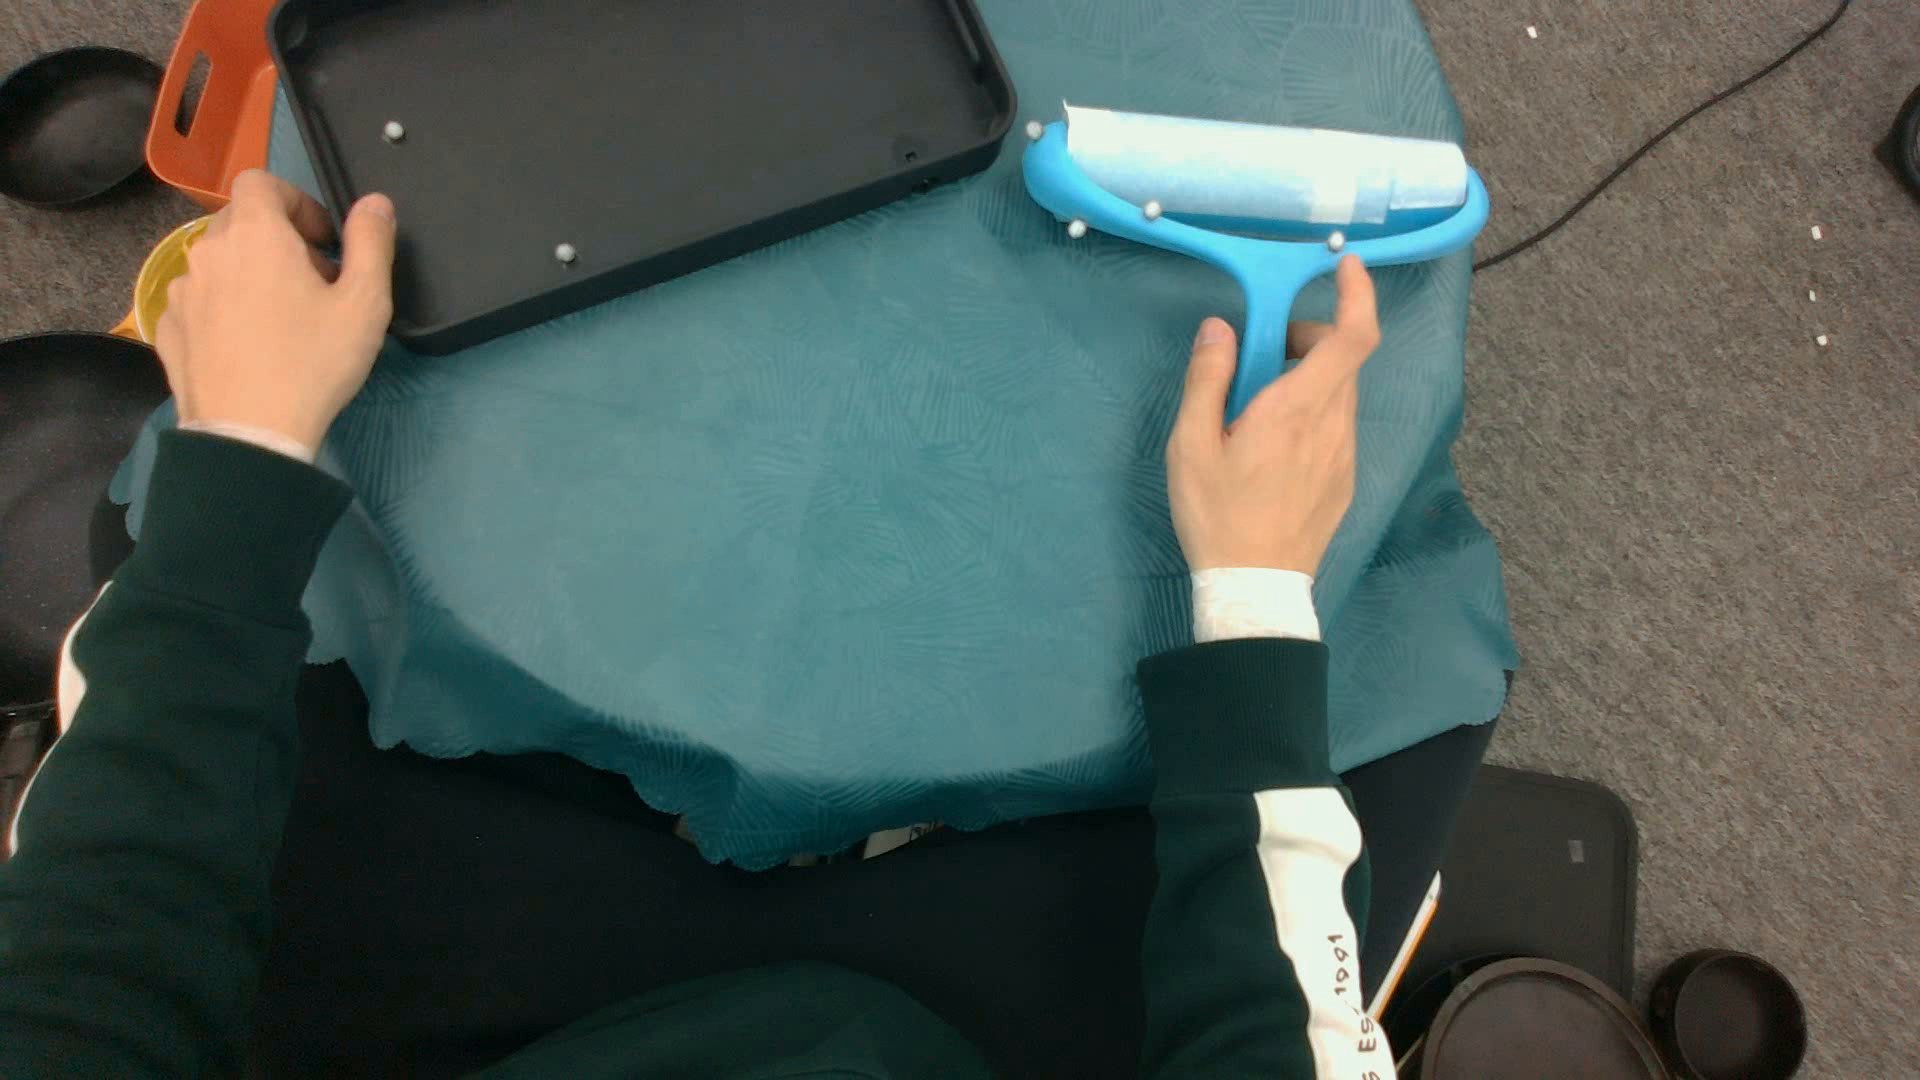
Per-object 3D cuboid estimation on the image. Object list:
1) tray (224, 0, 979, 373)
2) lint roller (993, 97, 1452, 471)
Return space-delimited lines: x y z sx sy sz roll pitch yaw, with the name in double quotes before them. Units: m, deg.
"tray" -0.166 -0.216 0.667 0.318 0.037 0.184 -25 81 -12
"lint roller" 0.132 -0.128 0.668 0.229 0.068 0.180 0 76 -8
